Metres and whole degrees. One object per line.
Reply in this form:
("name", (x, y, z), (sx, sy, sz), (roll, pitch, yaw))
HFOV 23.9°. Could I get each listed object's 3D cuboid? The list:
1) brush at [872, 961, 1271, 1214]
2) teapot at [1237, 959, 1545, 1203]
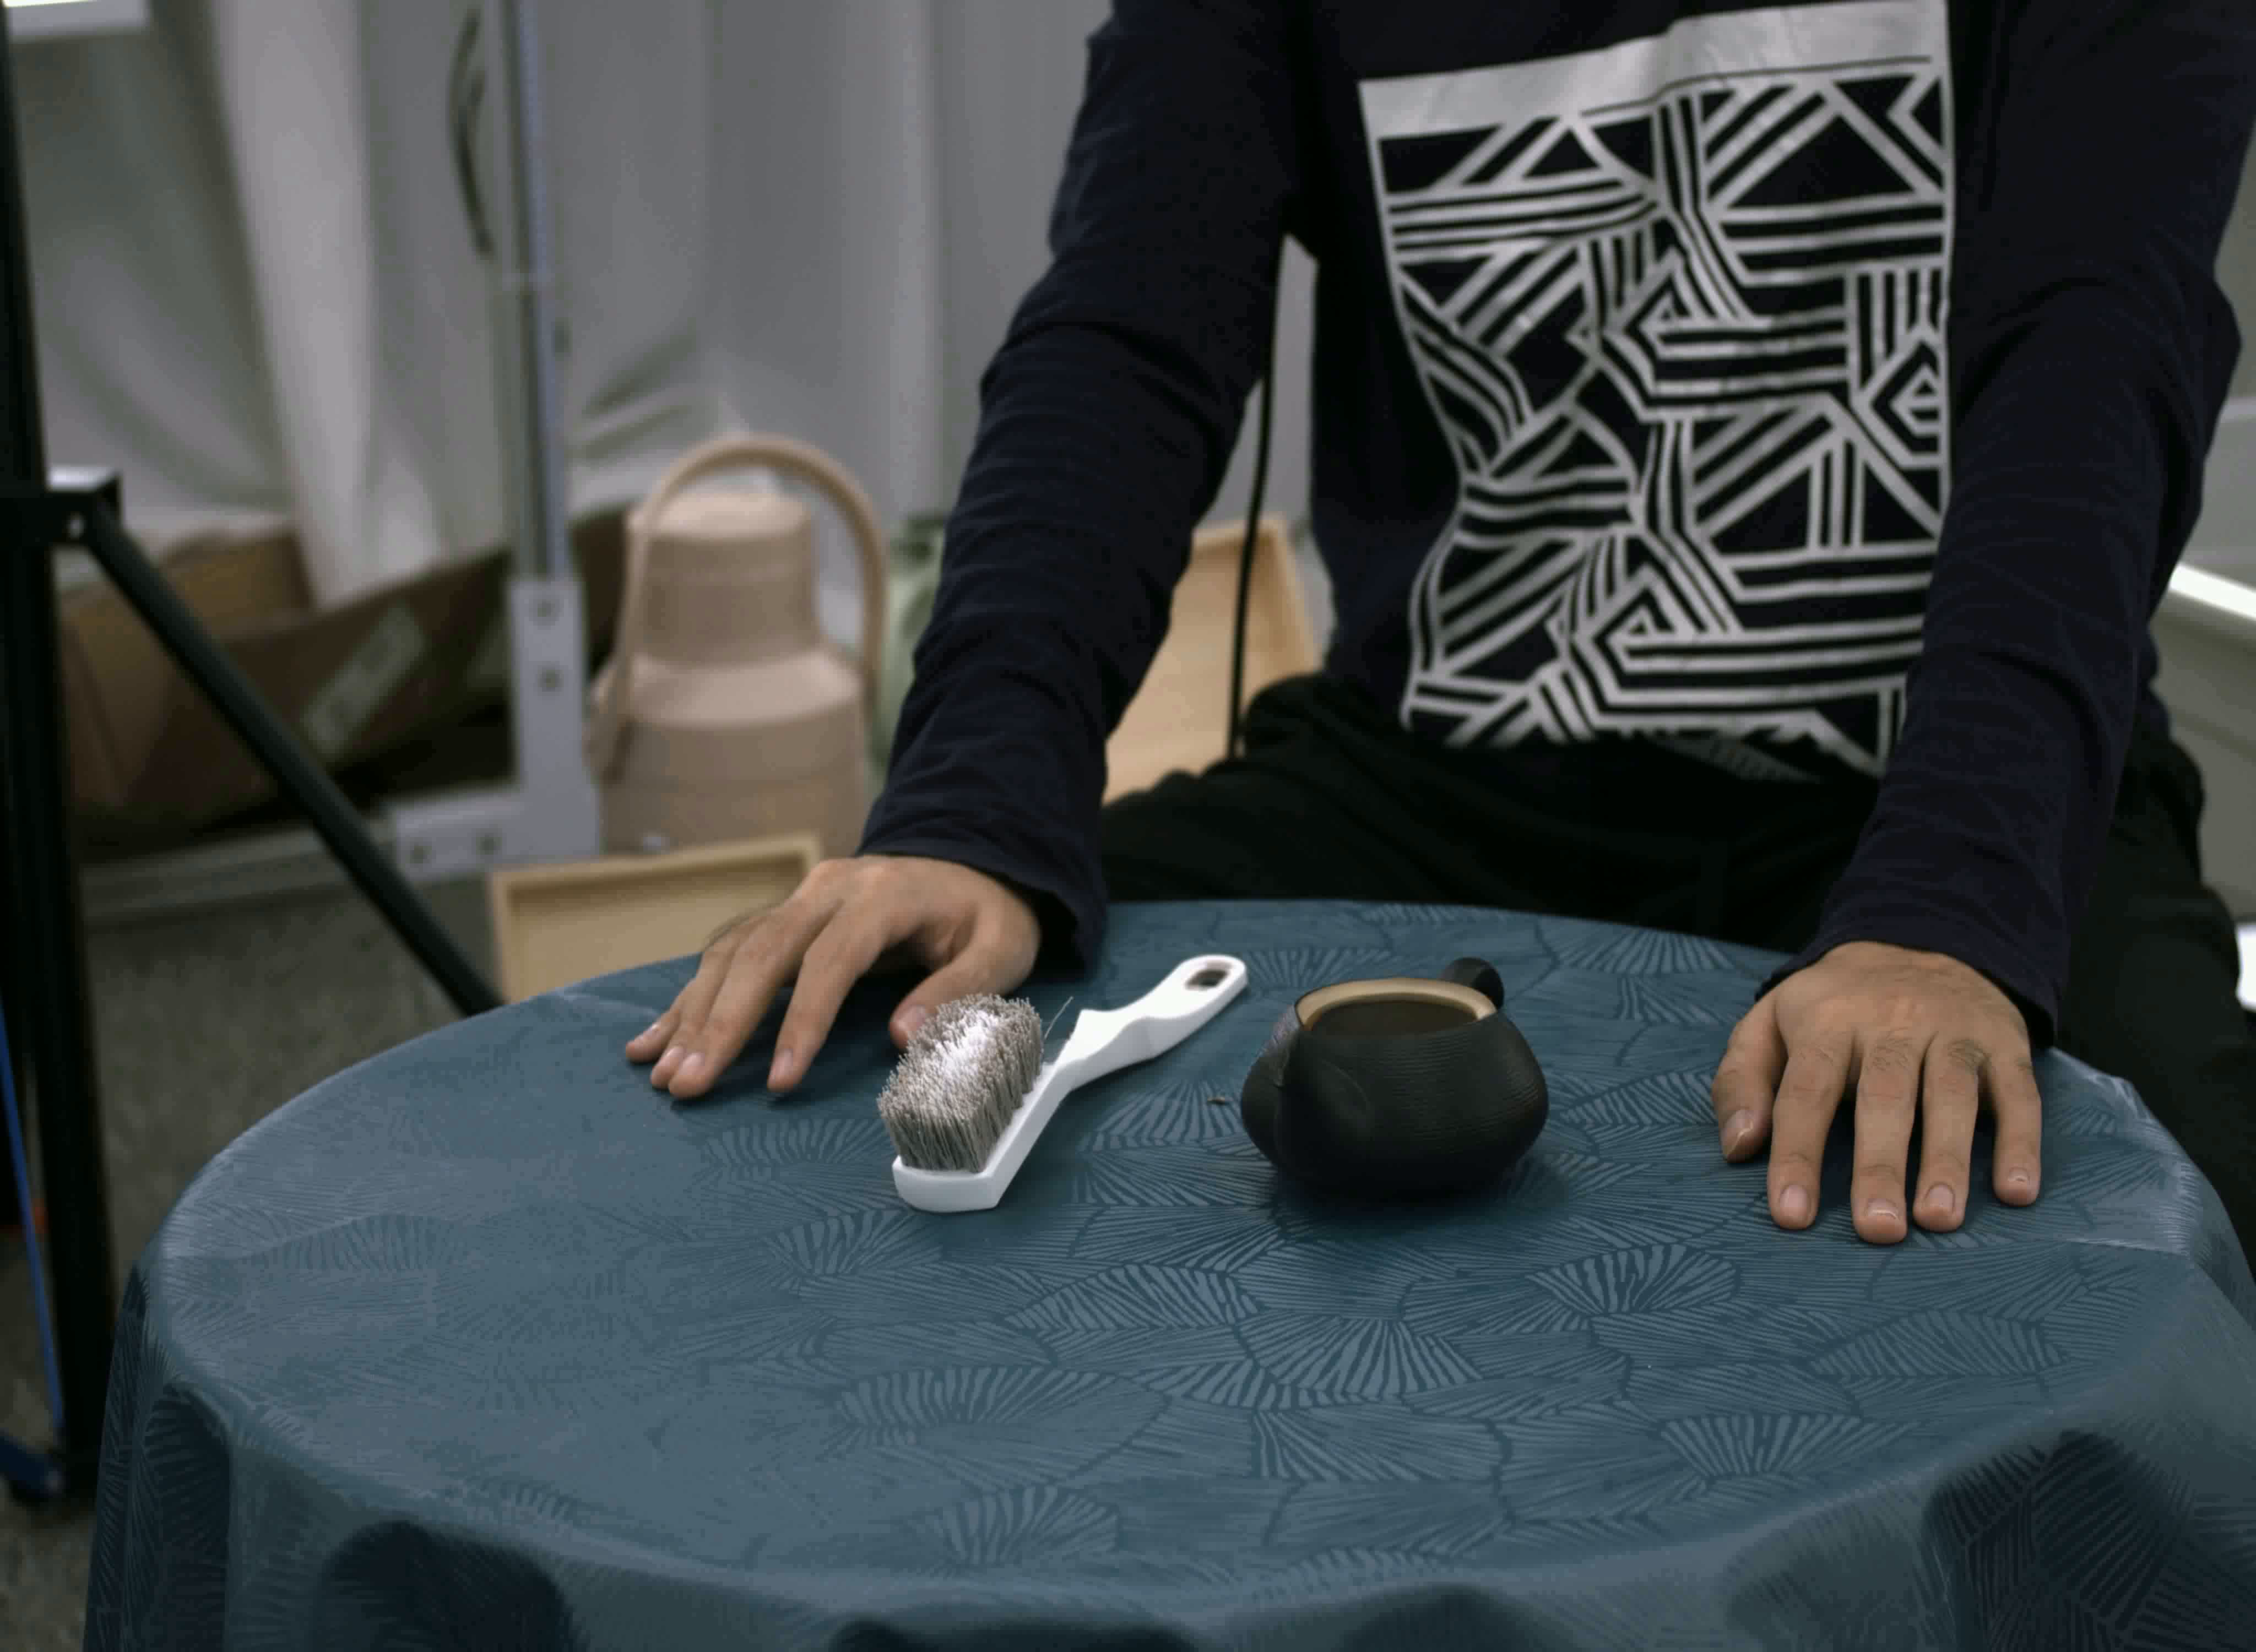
("brush", (-0.012, 0.061, 1.643), (0.035, 0.050, 0.240), (1, 16, 26))
("teapot", (0.078, 0.077, 1.559), (0.092, 0.053, 0.131), (10, 19, 29))
